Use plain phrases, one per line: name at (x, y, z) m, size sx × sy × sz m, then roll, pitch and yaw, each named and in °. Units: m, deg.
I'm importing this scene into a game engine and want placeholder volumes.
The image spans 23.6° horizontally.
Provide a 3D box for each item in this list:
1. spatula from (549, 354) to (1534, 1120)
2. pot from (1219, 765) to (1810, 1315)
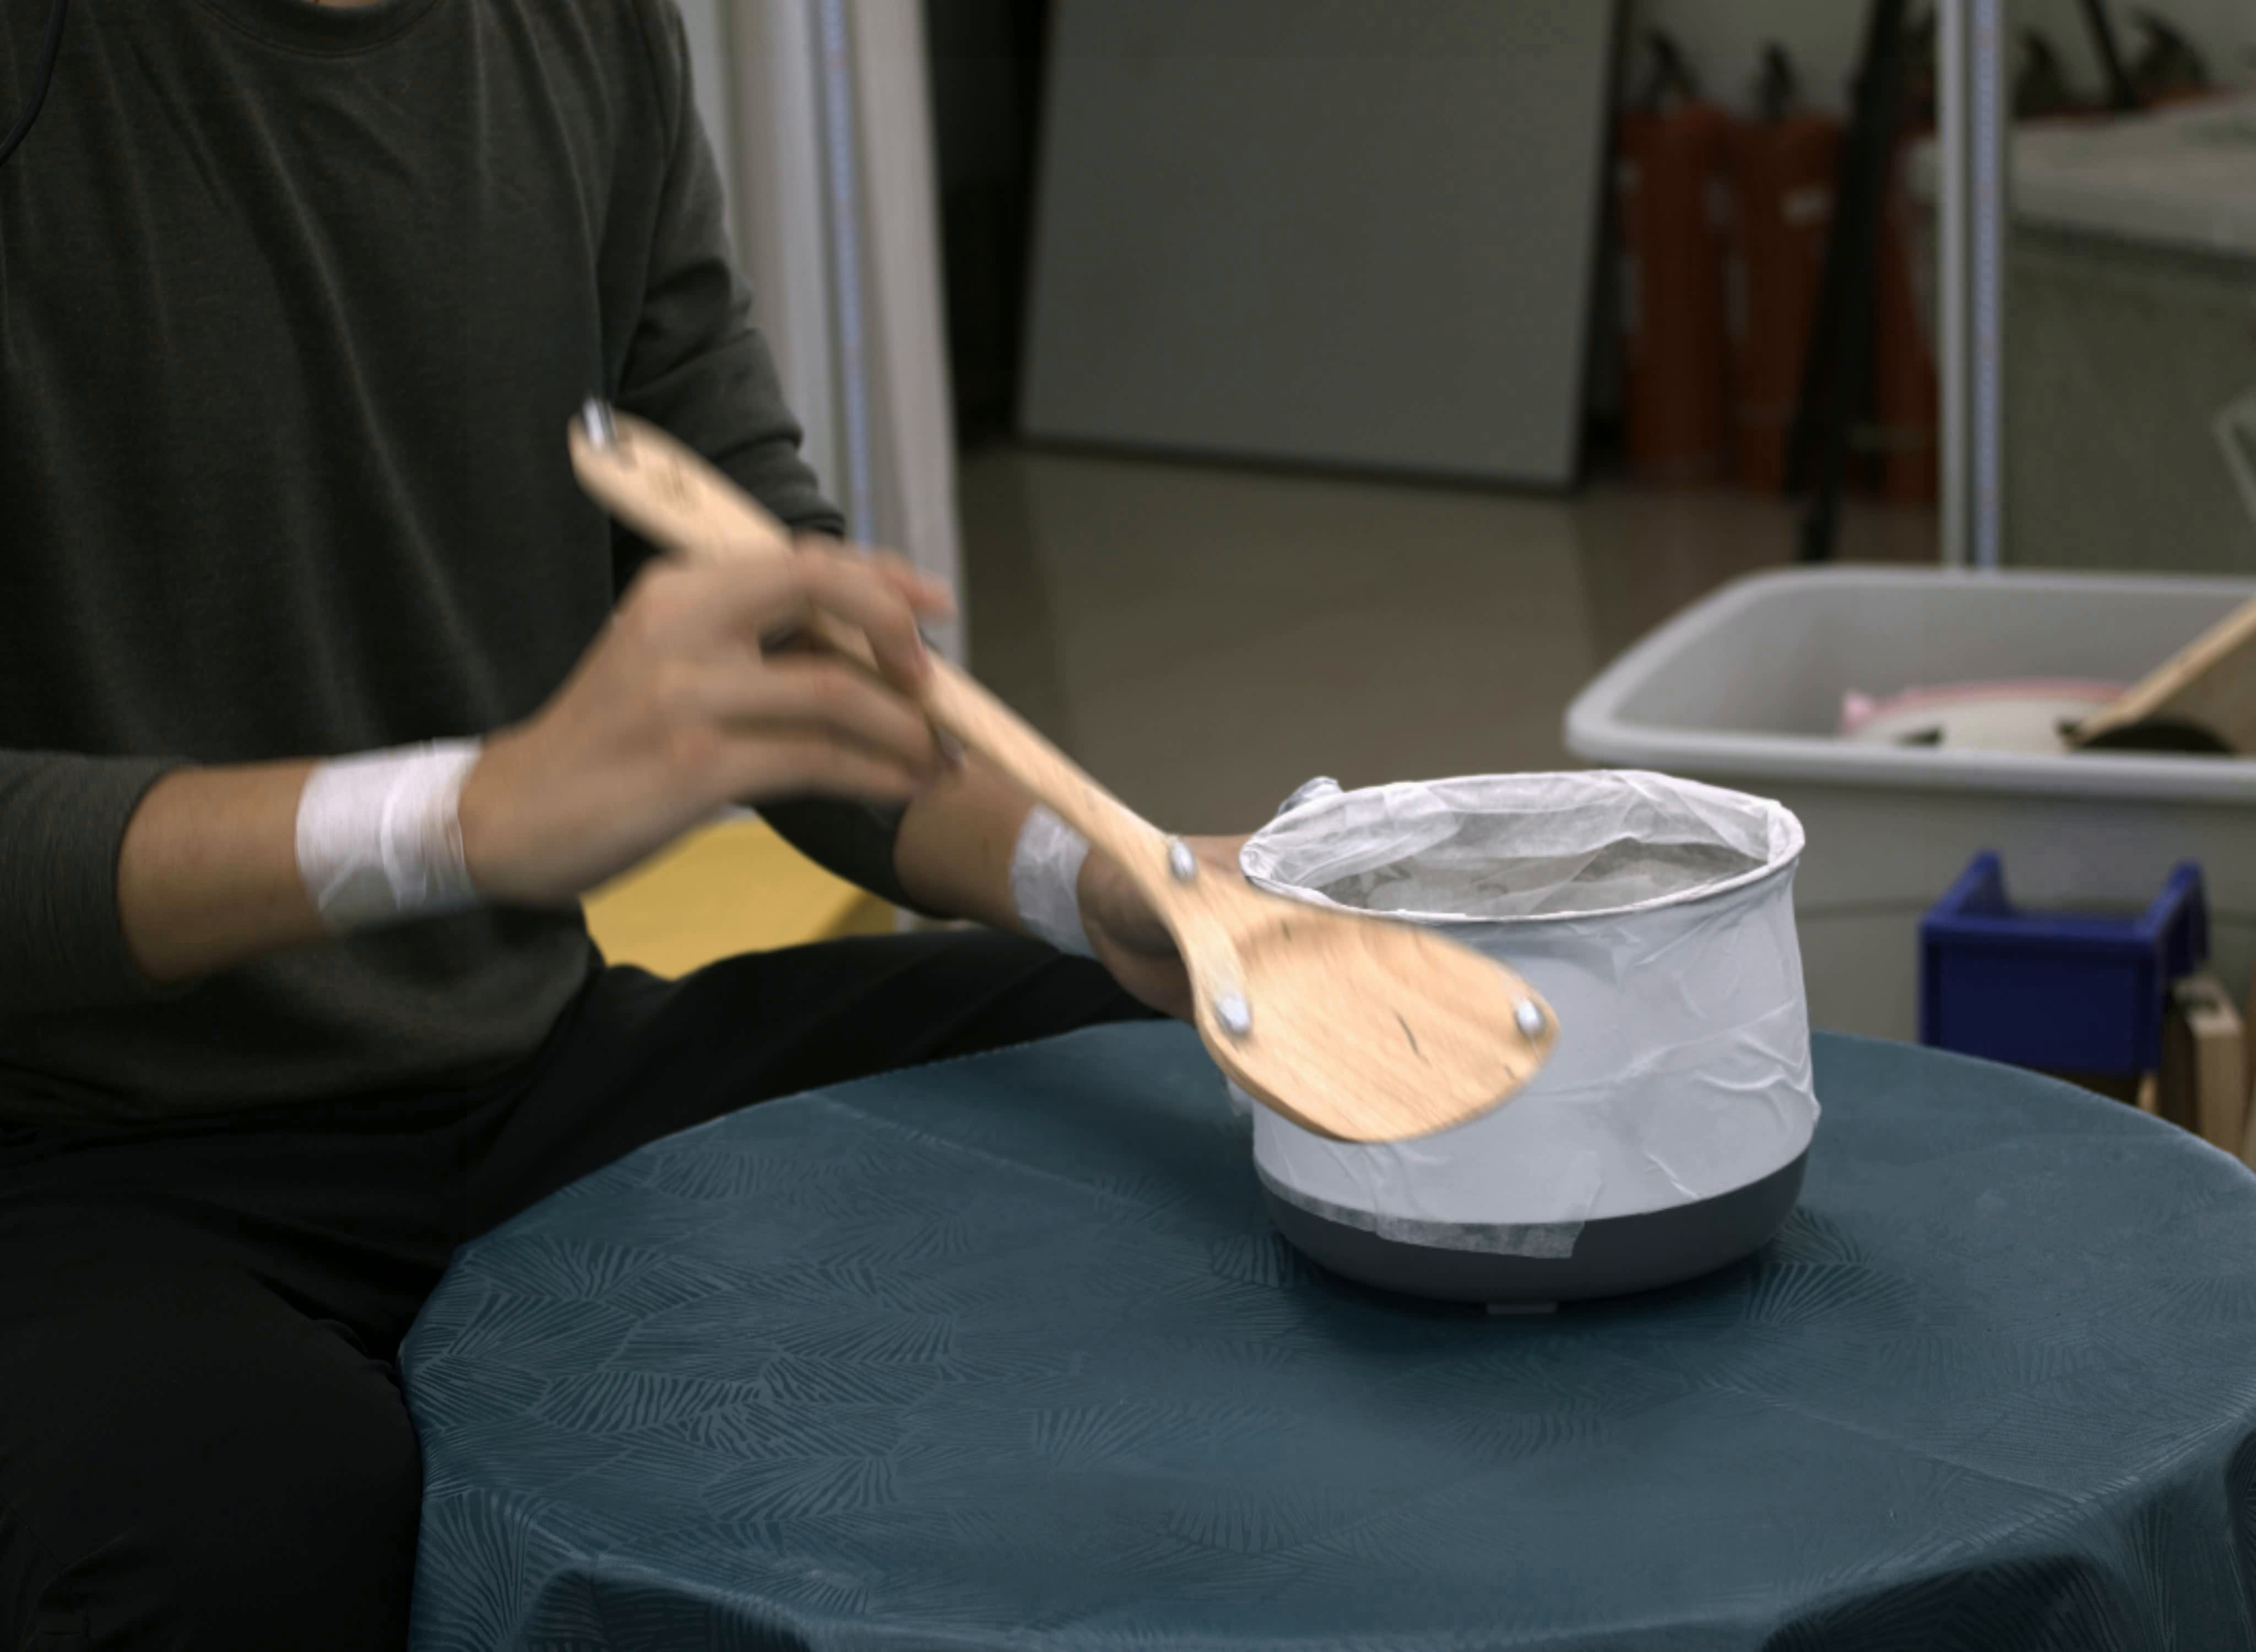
spatula at (-0.043, -0.034, 1.546) m, size 0.094 × 0.018 × 0.394 m, roll -27°, pitch 52°, yaw -35°
pot at (0.107, 0.061, 1.700) m, size 0.175 × 0.138 × 0.236 m, roll -13°, pitch 16°, yaw -36°
